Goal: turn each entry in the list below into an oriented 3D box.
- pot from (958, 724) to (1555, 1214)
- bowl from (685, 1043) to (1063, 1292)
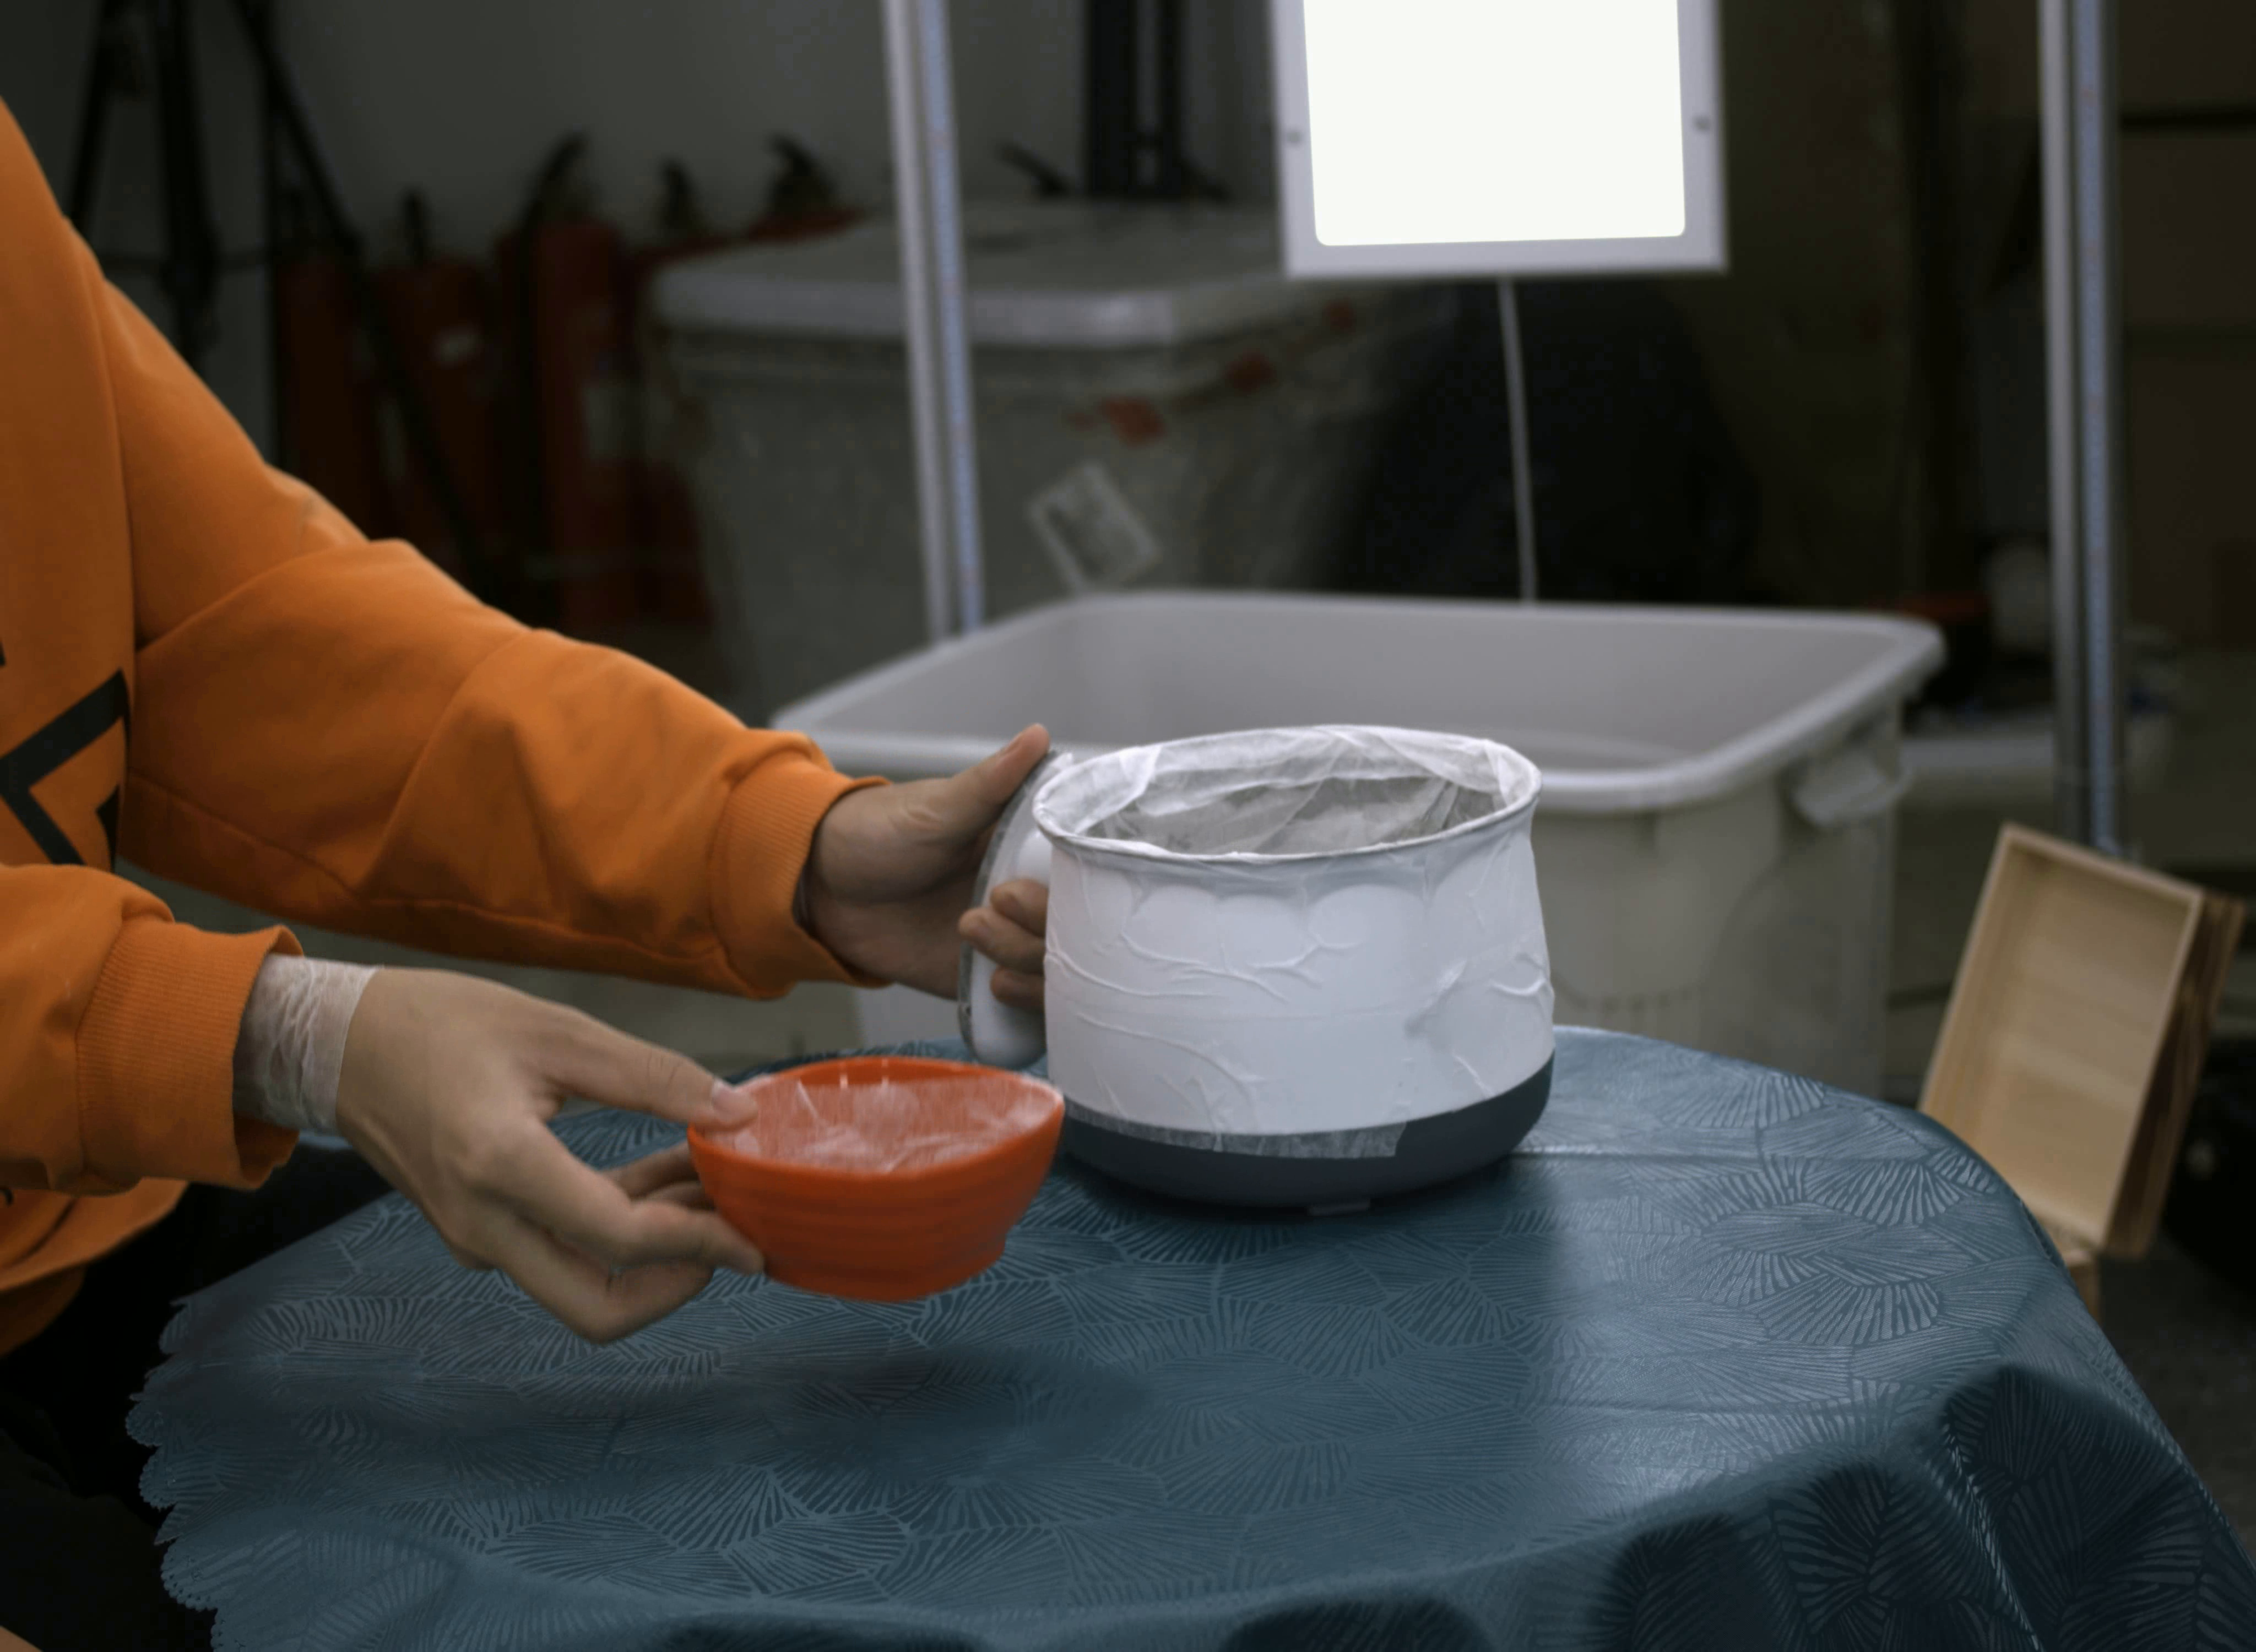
[{"bbox_3d":[0.036,0.045,1.919,0.238,0.137,0.174,7,18,36],"label":"pot"},{"bbox_3d":[-0.078,0.108,1.718,0.118,0.051,0.119,-3,16,0],"label":"bowl"}]
